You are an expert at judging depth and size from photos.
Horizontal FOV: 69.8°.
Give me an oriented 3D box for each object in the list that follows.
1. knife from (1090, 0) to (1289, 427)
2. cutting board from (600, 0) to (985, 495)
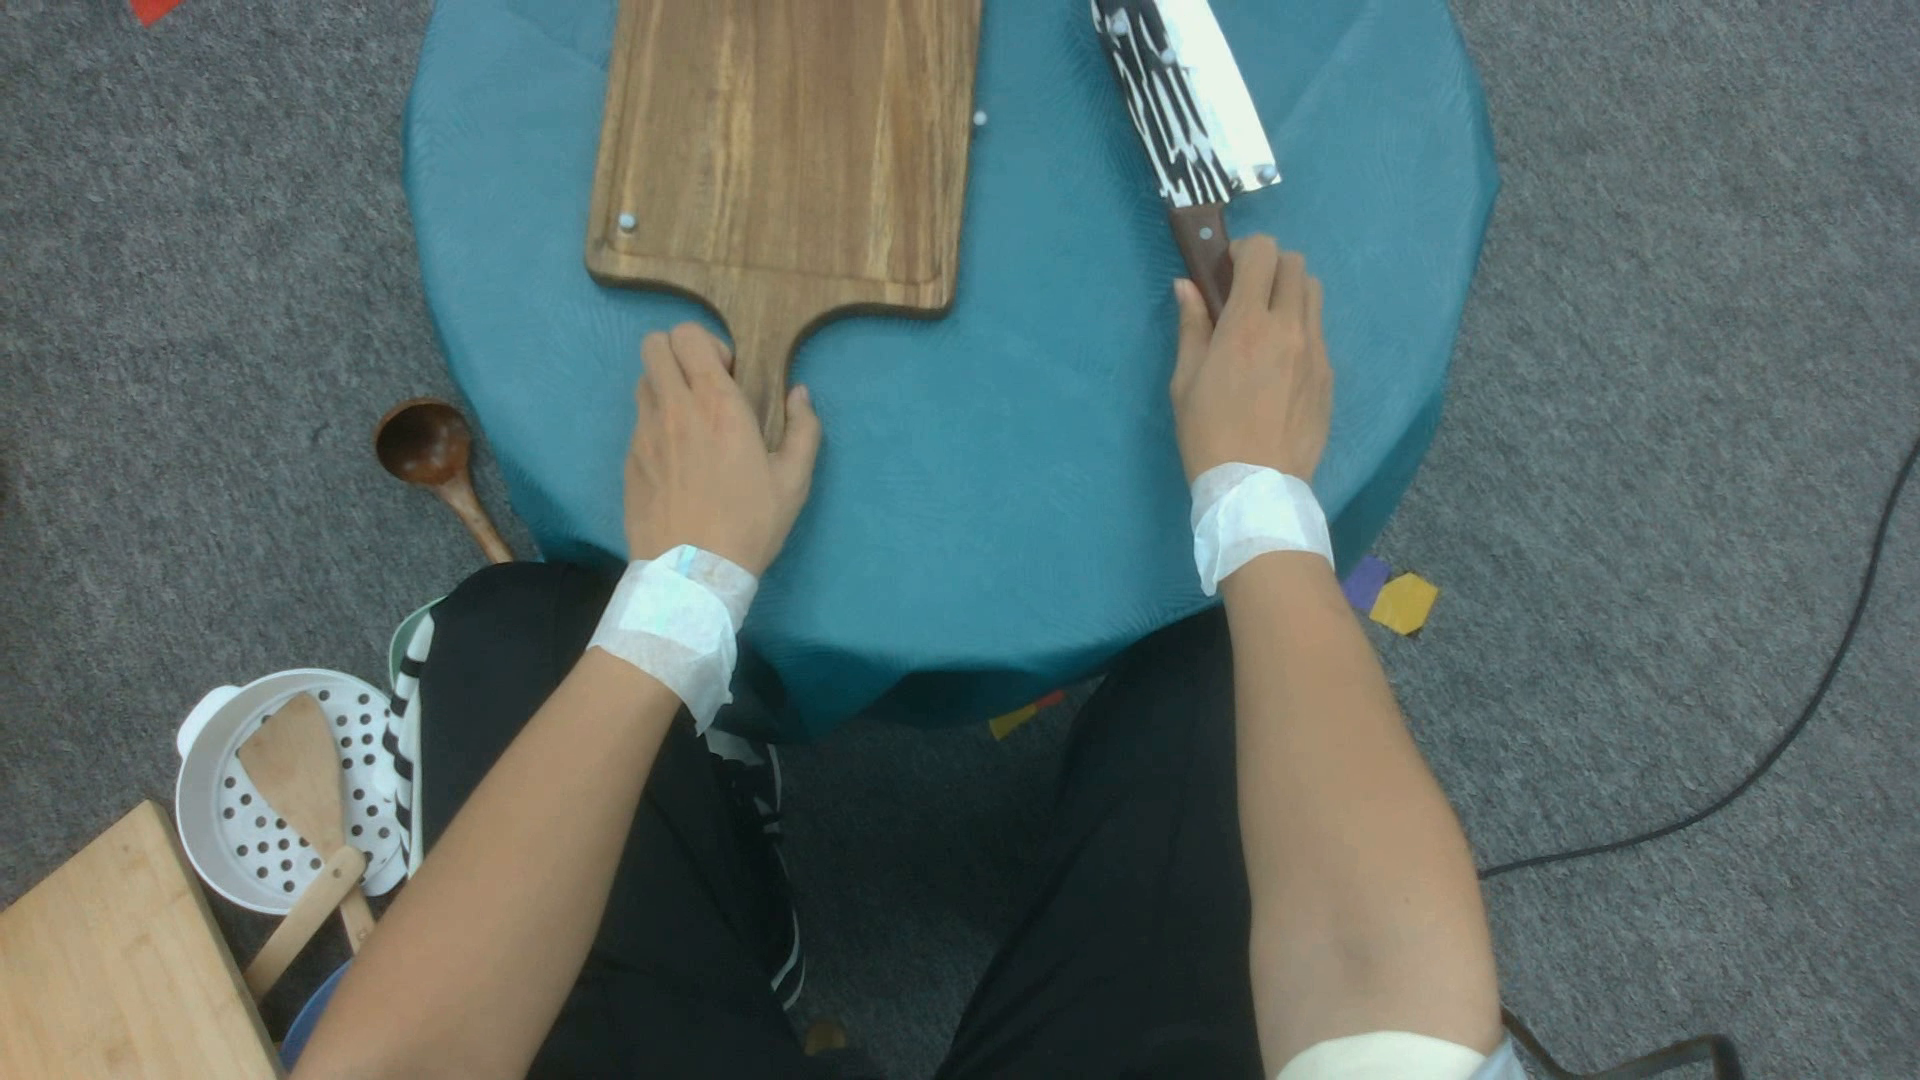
[{"bbox_3d":[0.135,-0.207,0.762,0.068,0.024,0.300,-17,78,-5],"label":"knife"},{"bbox_3d":[-0.093,-0.198,0.765,0.201,0.023,0.353,5,78,-1],"label":"cutting board"}]
